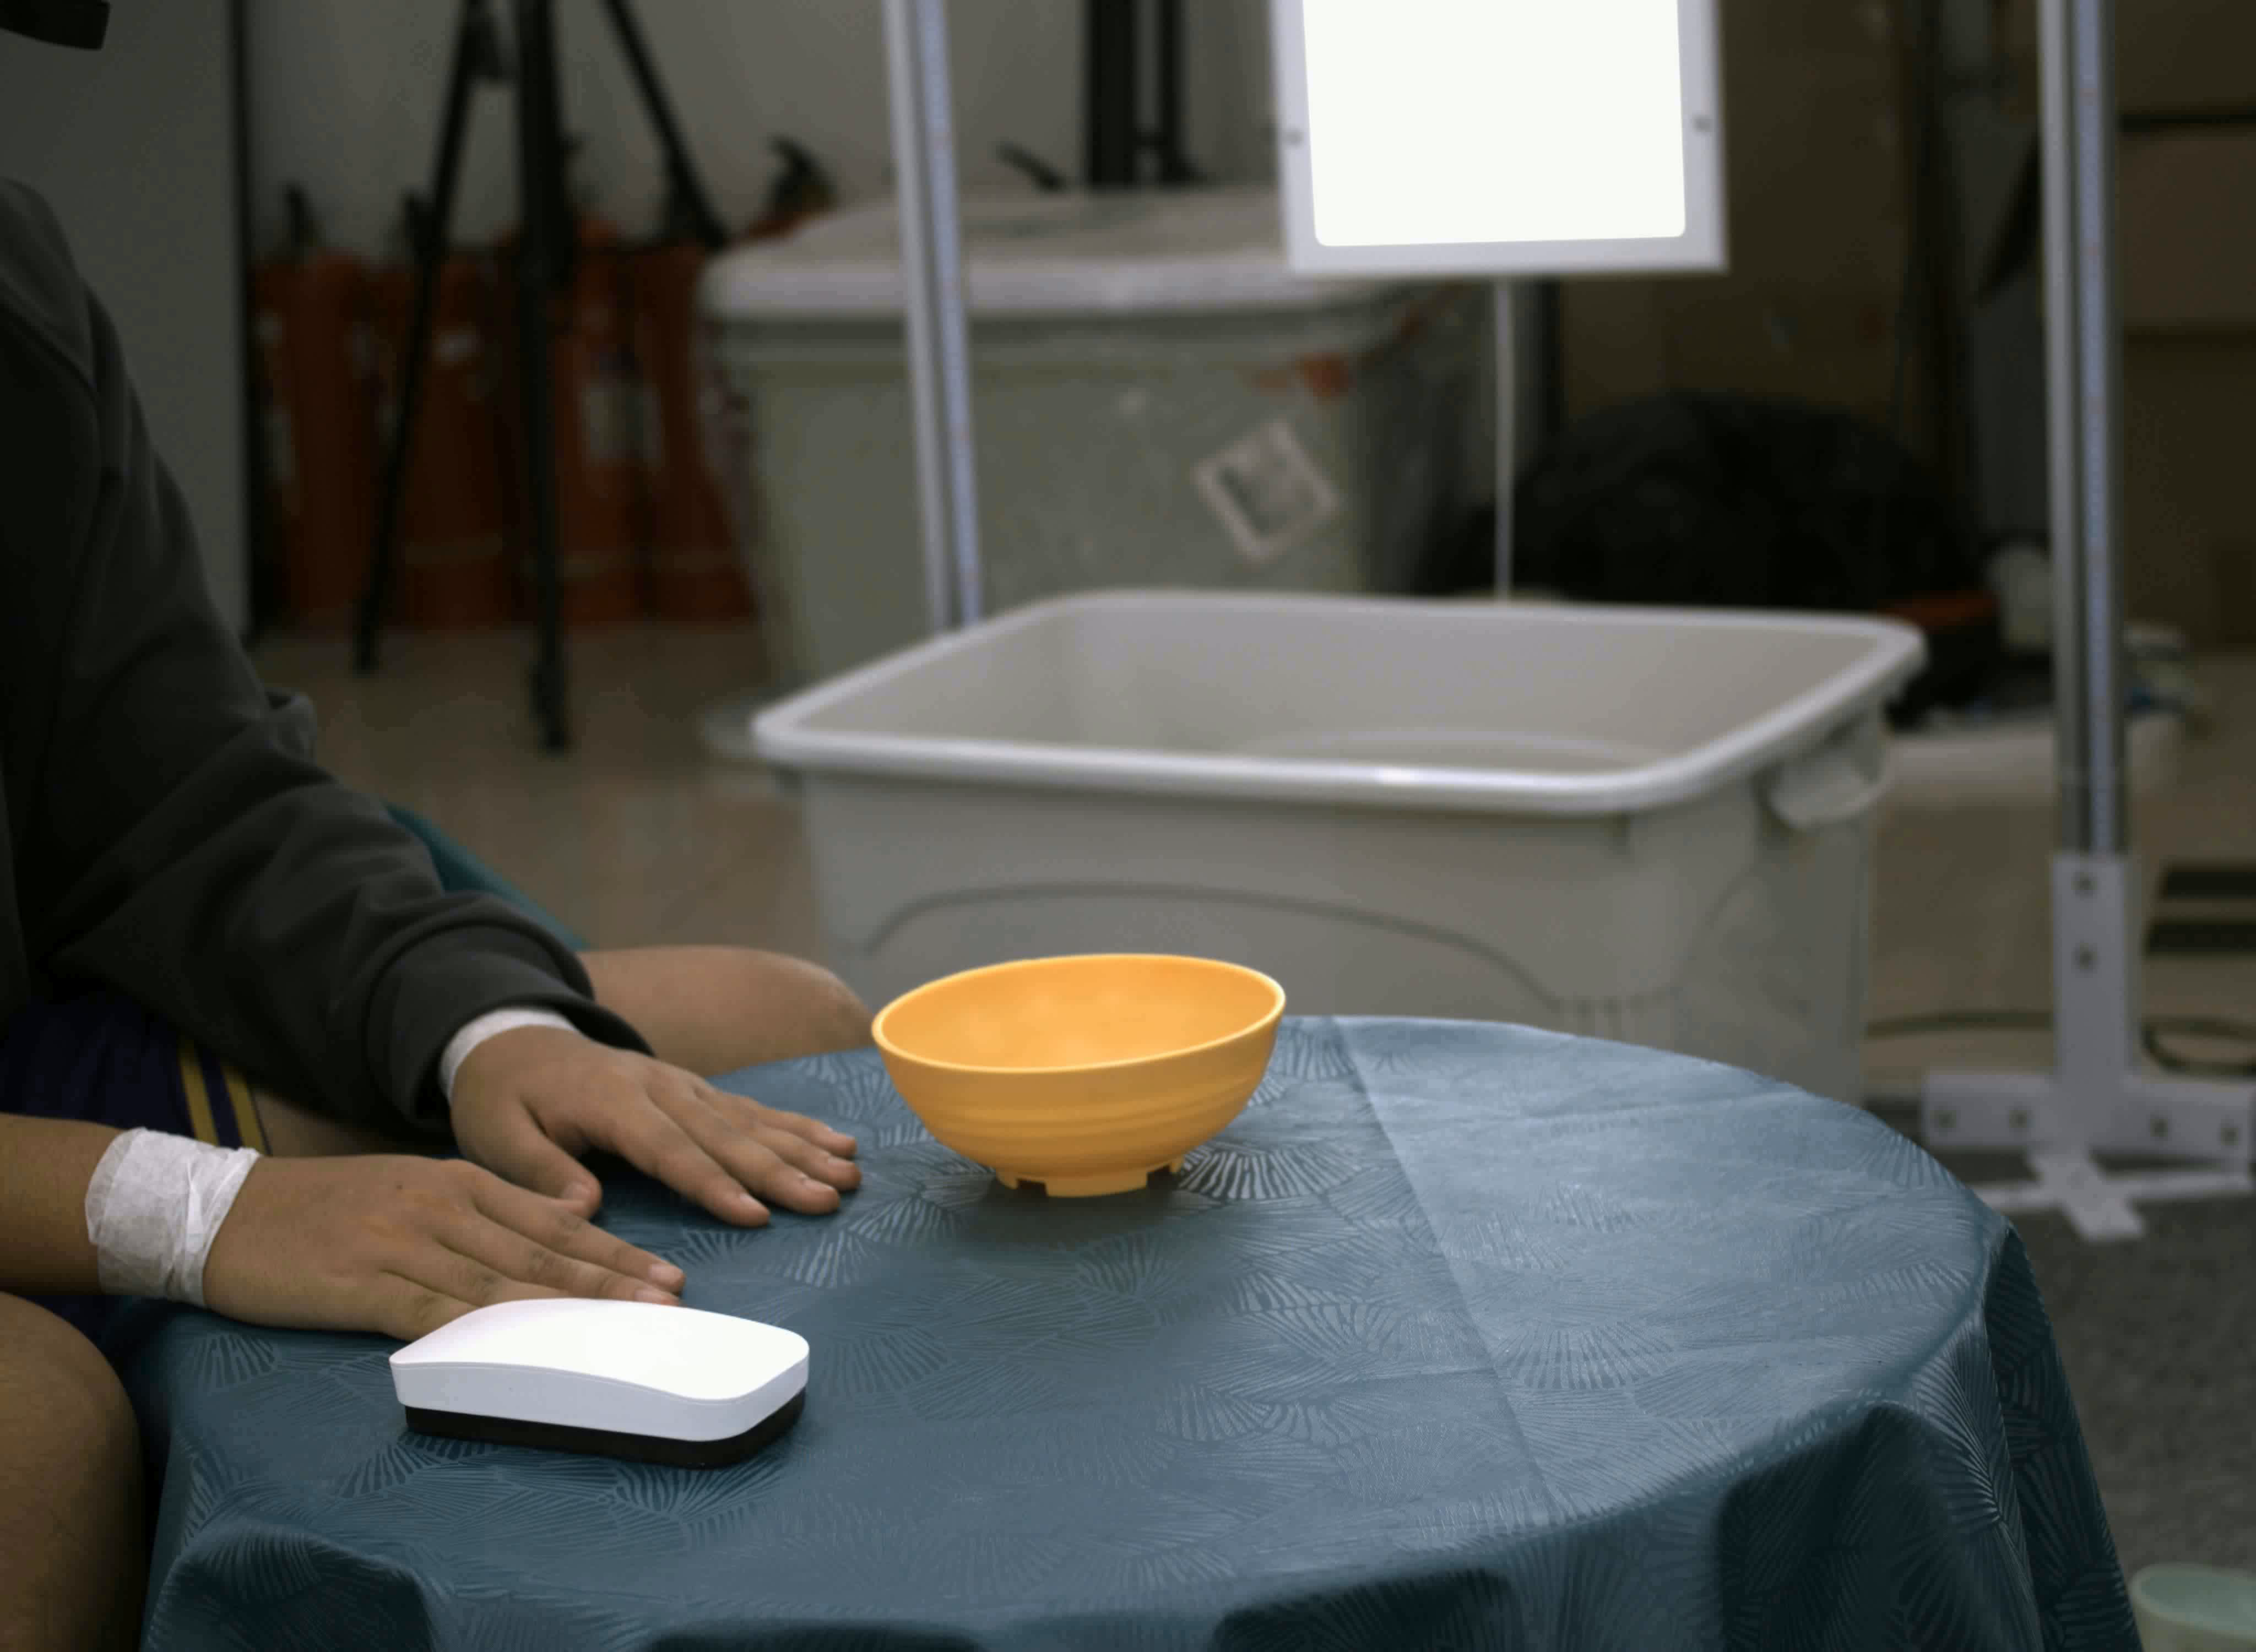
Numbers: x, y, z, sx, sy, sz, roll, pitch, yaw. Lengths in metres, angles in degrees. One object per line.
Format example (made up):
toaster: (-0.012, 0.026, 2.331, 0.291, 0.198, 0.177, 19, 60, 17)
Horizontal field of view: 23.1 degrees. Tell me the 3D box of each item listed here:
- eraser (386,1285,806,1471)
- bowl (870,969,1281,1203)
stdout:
eraser: (-0.164, 0.170, 1.713, 0.134, 0.034, 0.062, 4, 16, 31)
bowl: (-0.016, 0.094, 1.920, 0.145, 0.060, 0.145, -6, 12, 0)
